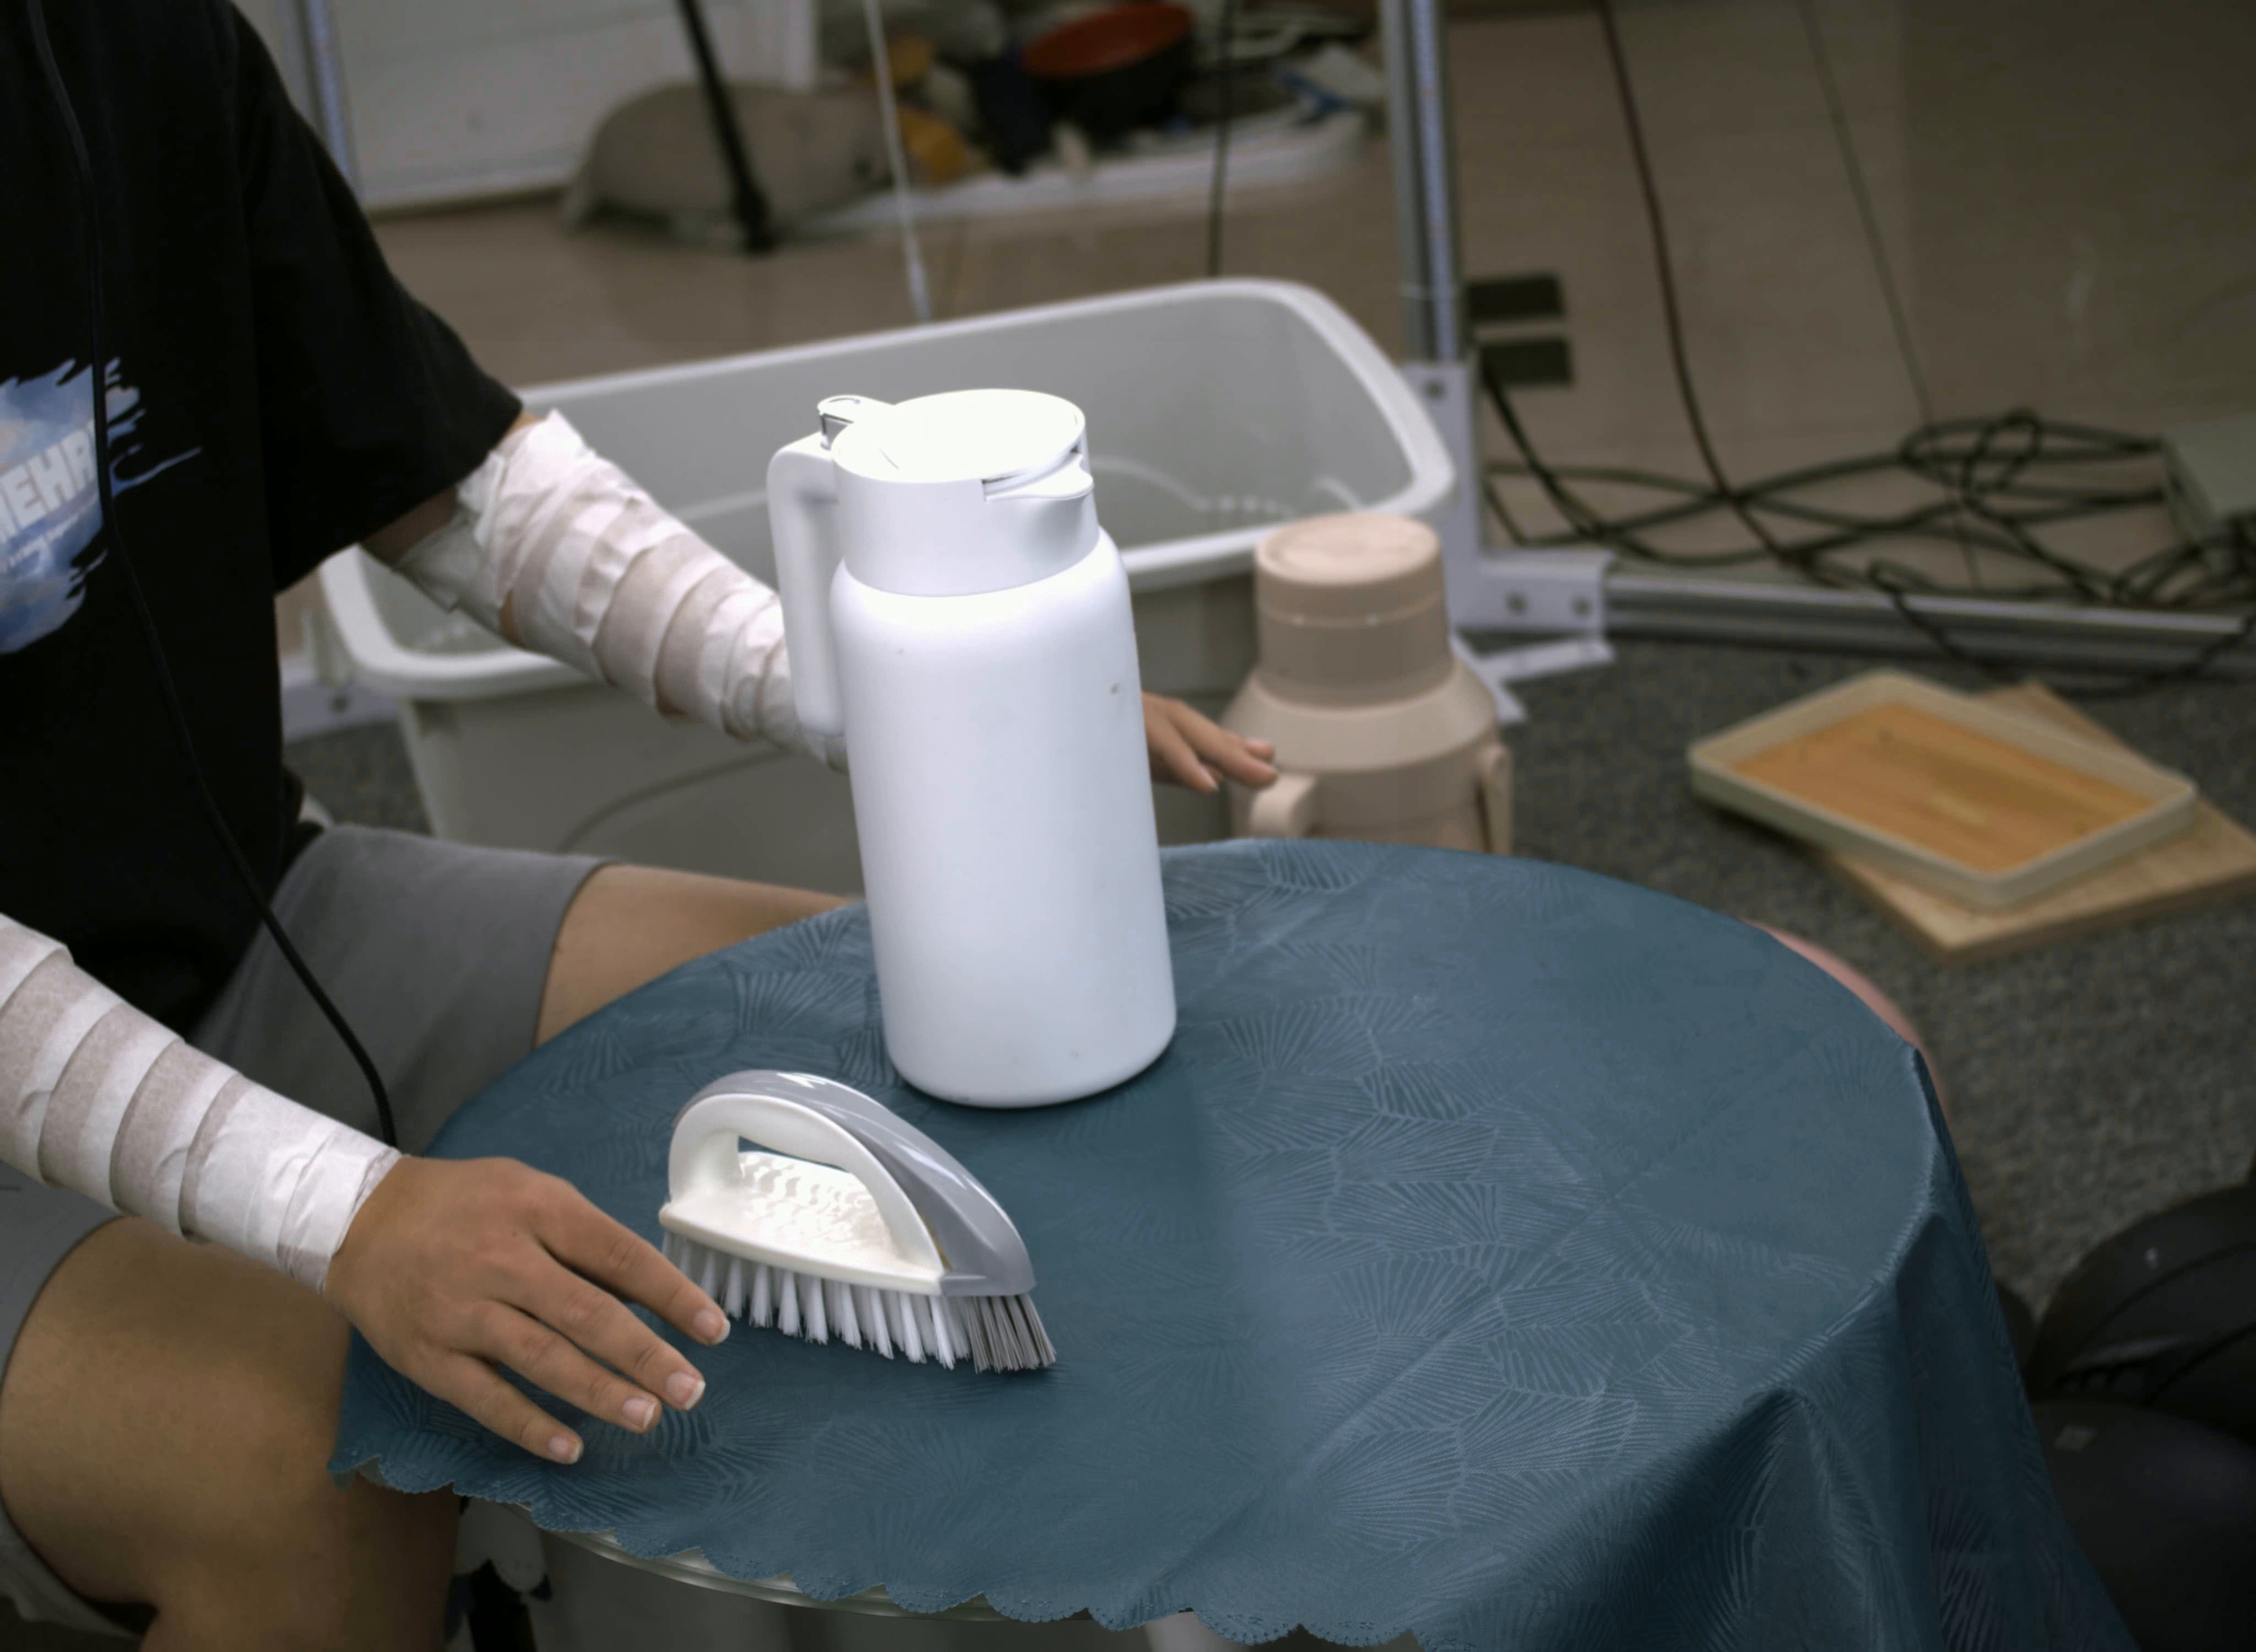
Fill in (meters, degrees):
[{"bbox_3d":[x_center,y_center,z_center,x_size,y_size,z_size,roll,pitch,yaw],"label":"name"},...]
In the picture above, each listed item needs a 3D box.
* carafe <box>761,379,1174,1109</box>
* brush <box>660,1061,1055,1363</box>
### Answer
[{"bbox_3d":[-0.065,-0.034,2.215,0.171,0.273,0.122,17,36,40],"label":"carafe"},{"bbox_3d":[-0.099,0.137,2.067,0.174,0.096,0.061,16,35,37],"label":"brush"}]
